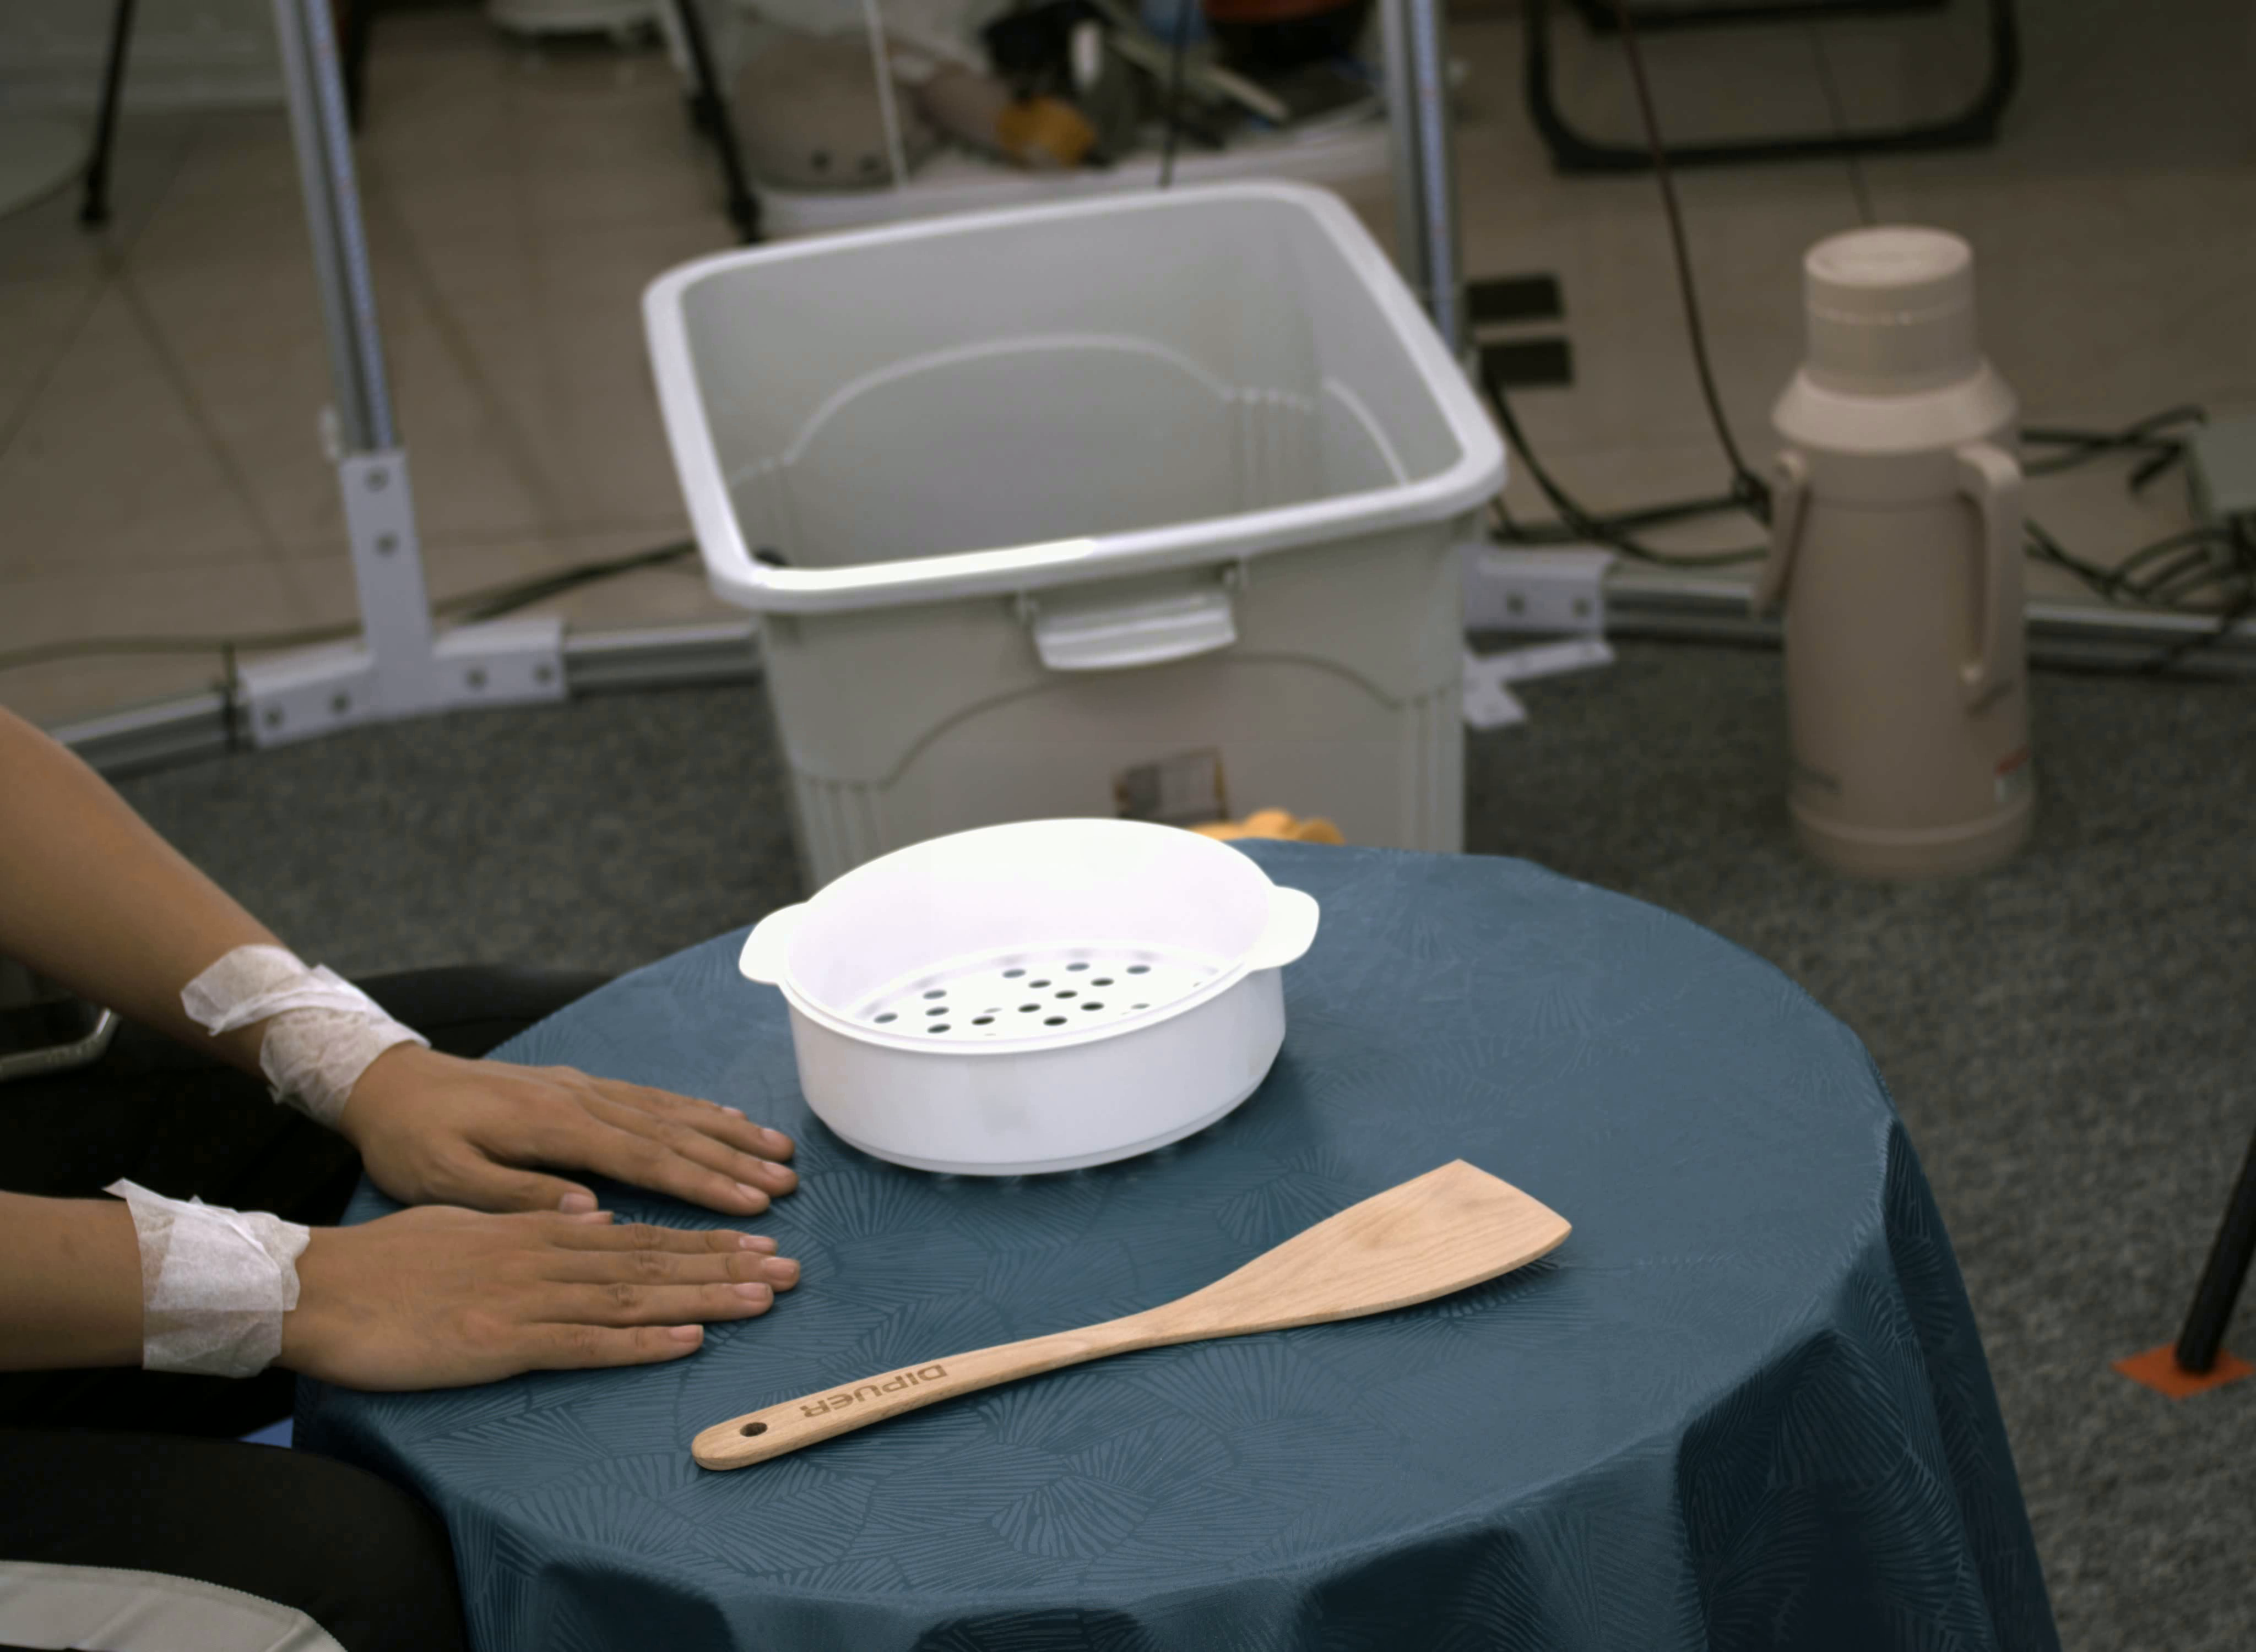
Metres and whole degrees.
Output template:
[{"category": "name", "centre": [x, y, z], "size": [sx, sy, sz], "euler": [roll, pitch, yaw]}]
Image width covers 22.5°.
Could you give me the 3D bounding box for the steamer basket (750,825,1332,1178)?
[{"category": "steamer basket", "centre": [-0.031, 0.069, 2.231], "size": [0.230, 0.070, 0.199], "euler": [-2, 24, 11]}]

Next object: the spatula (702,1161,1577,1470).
[{"category": "spatula", "centre": [0.001, 0.178, 2.046], "size": [0.326, 0.017, 0.079], "euler": [-15, 25, -16]}]
